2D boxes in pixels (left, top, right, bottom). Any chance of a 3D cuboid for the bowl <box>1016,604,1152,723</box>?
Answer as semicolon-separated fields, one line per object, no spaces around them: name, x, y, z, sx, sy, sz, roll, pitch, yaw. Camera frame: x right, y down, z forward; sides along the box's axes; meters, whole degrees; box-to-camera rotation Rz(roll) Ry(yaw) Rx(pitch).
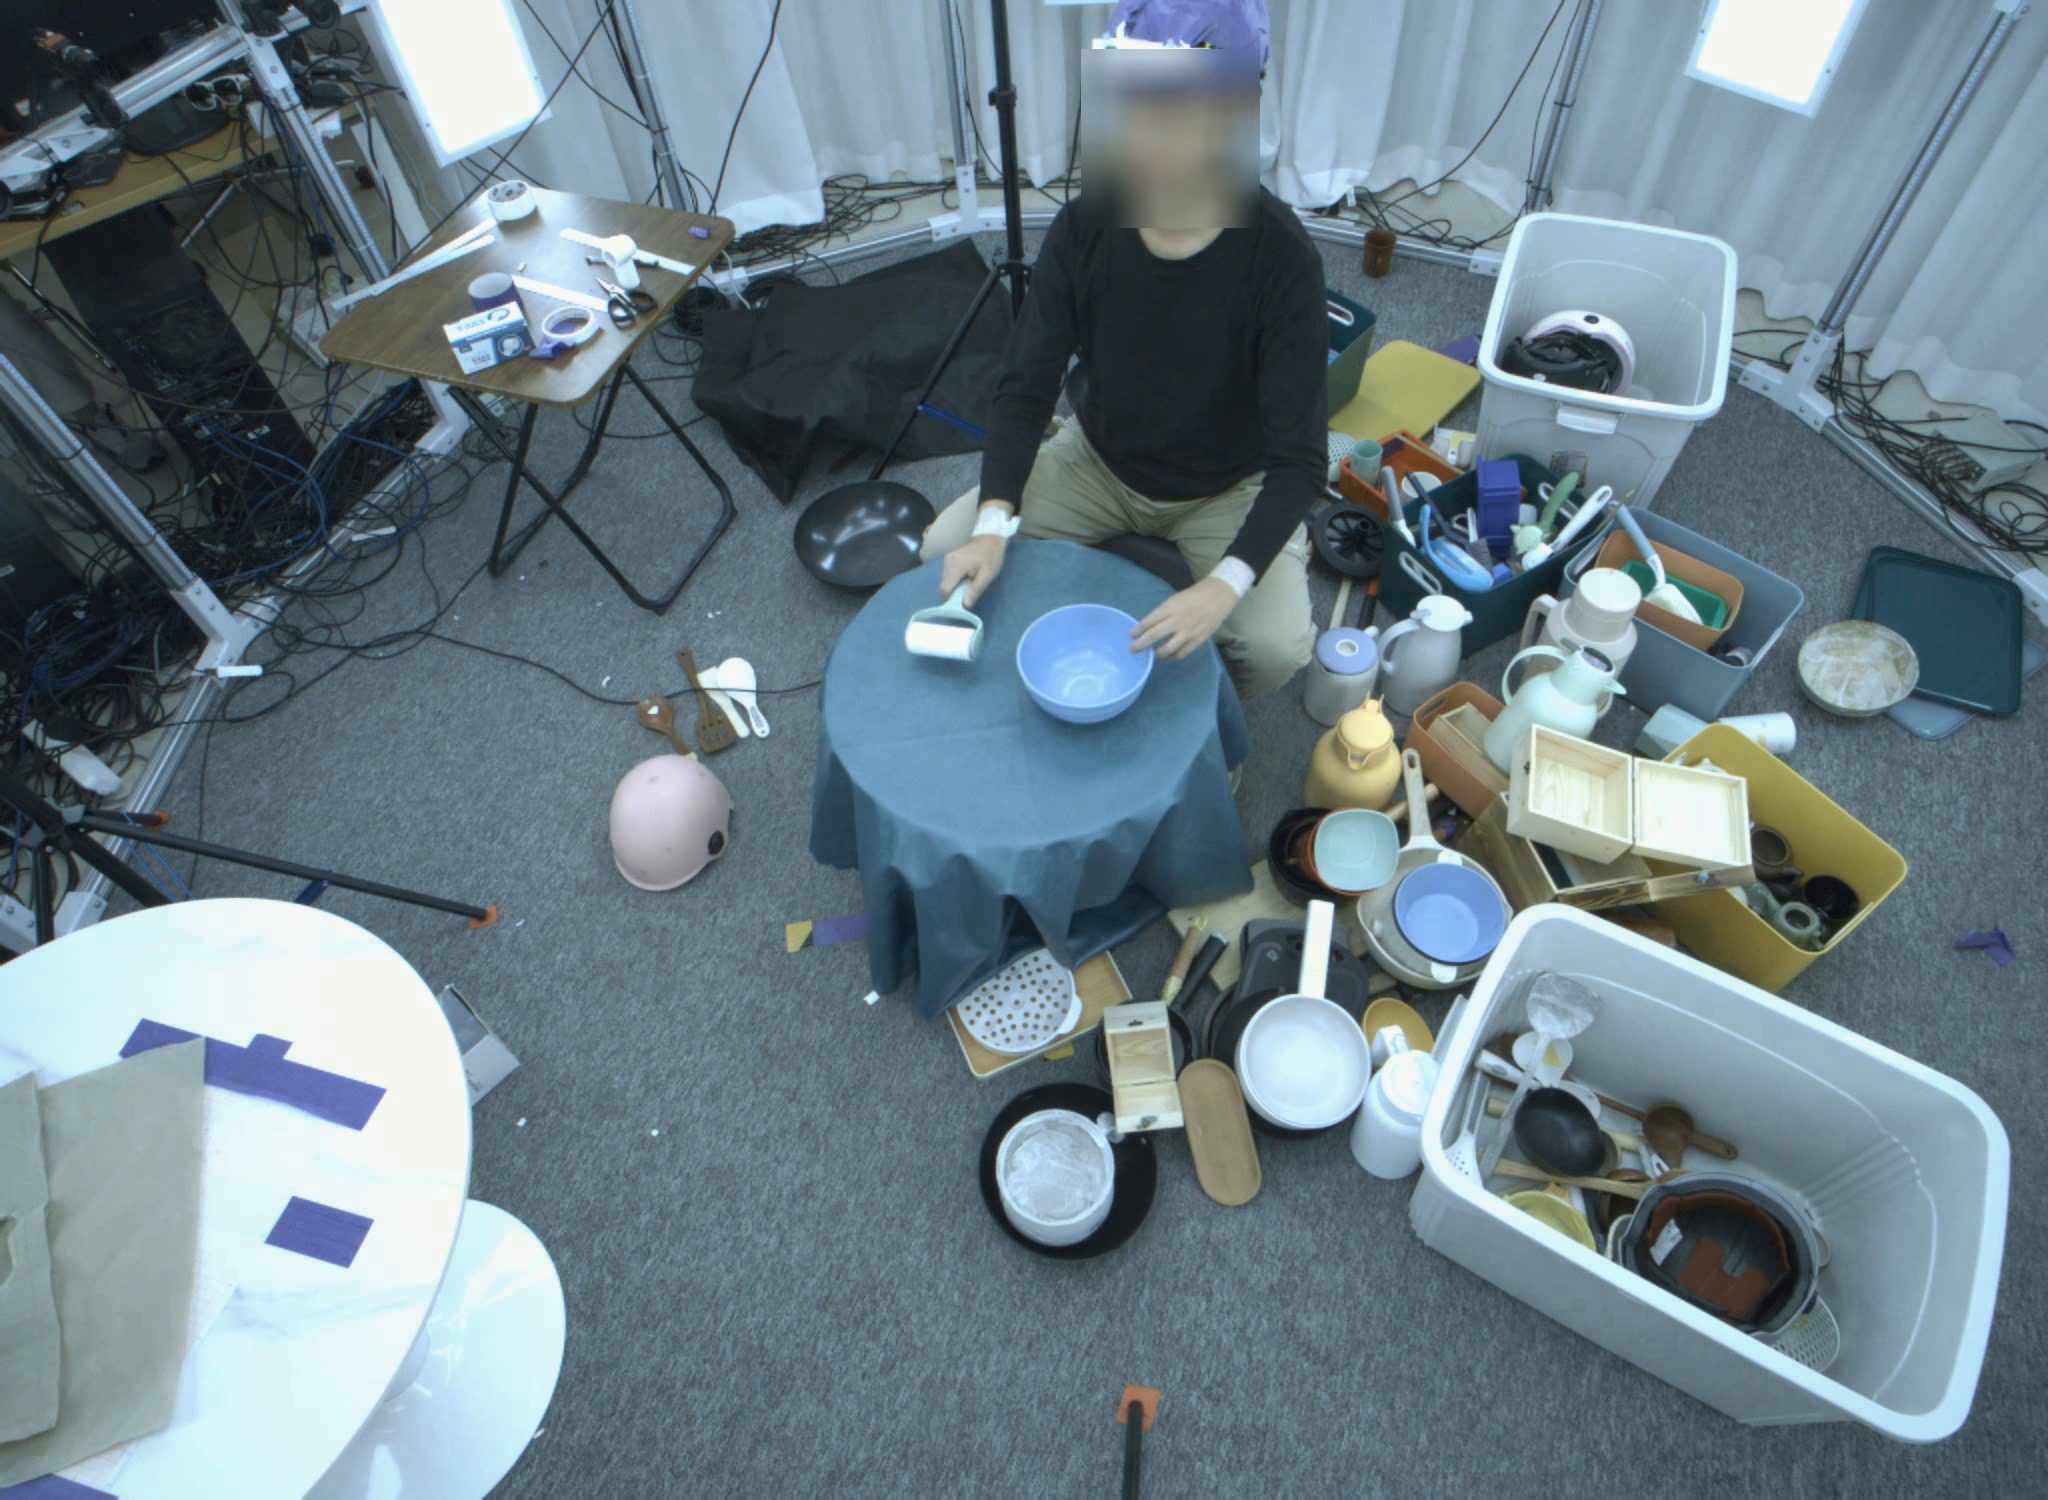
bowl;0.090;-0.112;1.805;0.196;0.096;0.194;-1;54;3

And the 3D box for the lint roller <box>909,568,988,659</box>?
lint roller;-0.095;-0.221;1.885;0.115;0.049;0.197;9;54;15
